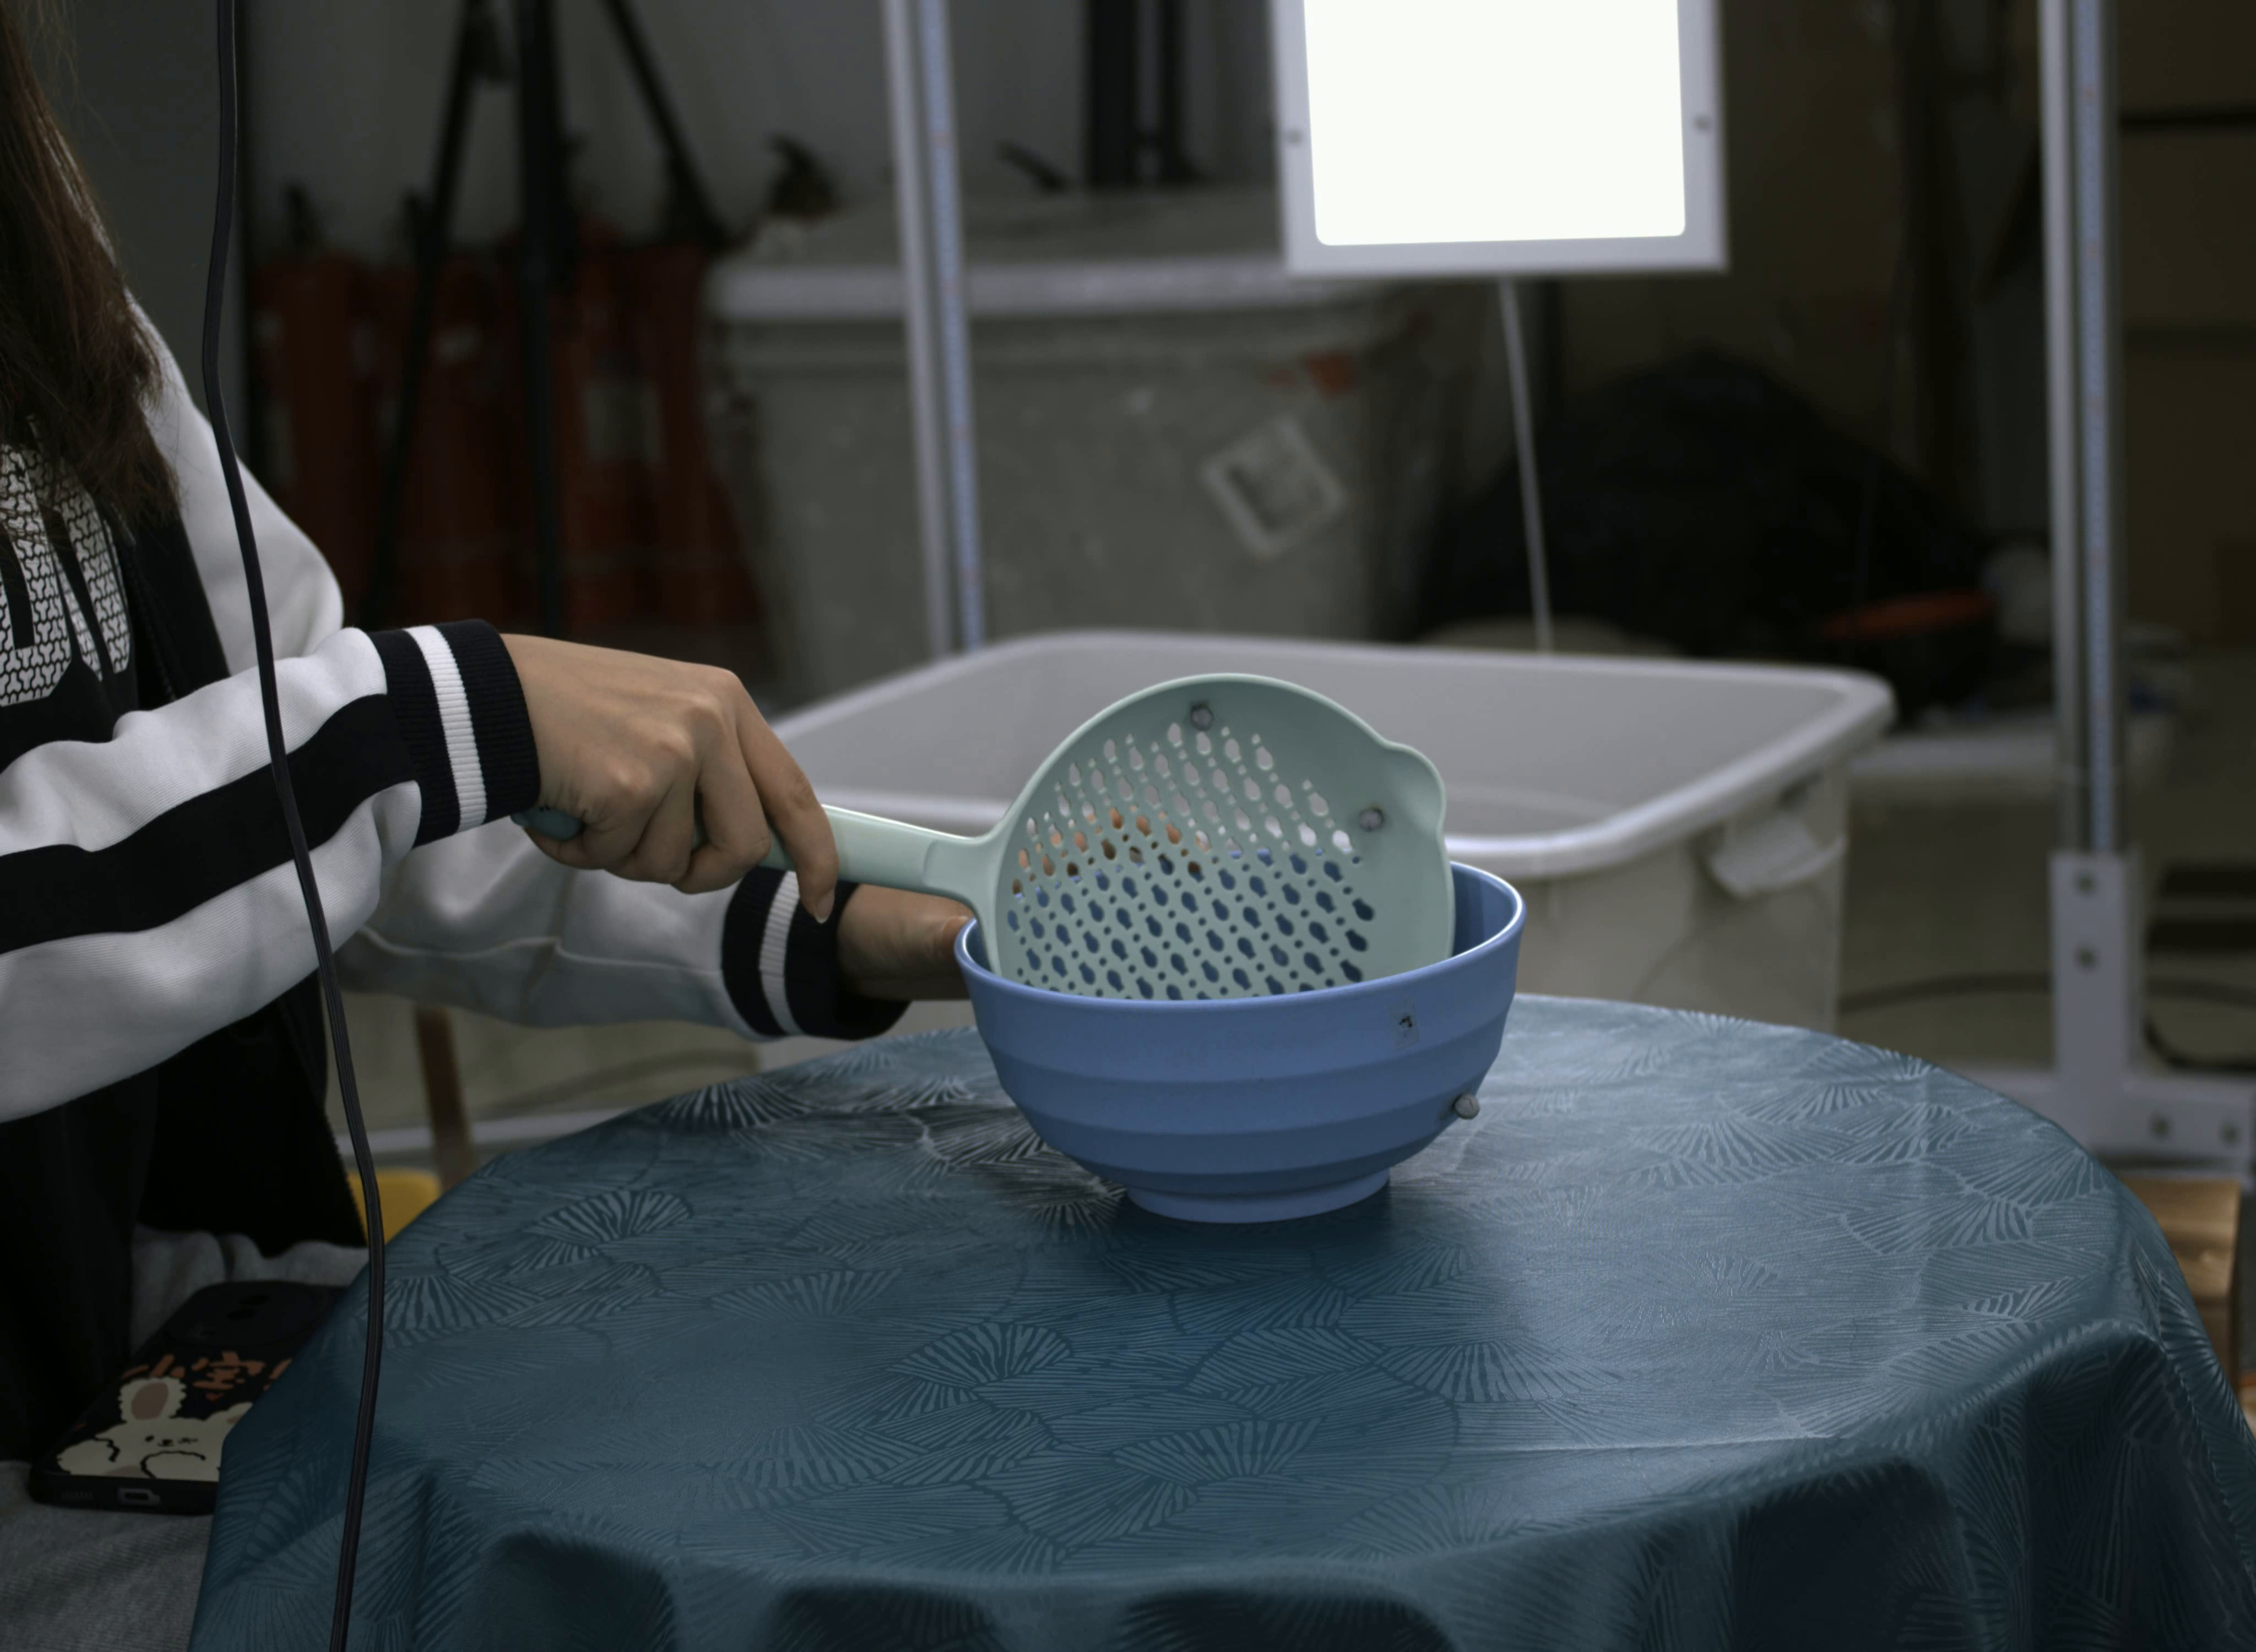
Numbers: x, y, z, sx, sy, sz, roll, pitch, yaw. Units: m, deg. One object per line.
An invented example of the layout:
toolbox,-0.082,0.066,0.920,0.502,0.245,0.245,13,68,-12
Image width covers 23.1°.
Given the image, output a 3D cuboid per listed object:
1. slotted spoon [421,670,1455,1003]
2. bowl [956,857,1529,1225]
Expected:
slotted spoon,-0.061,0.013,1.864,0.352,0.169,0.076,12,-3,-24
bowl,0.042,0.077,1.884,0.196,0.096,0.196,-5,14,0
